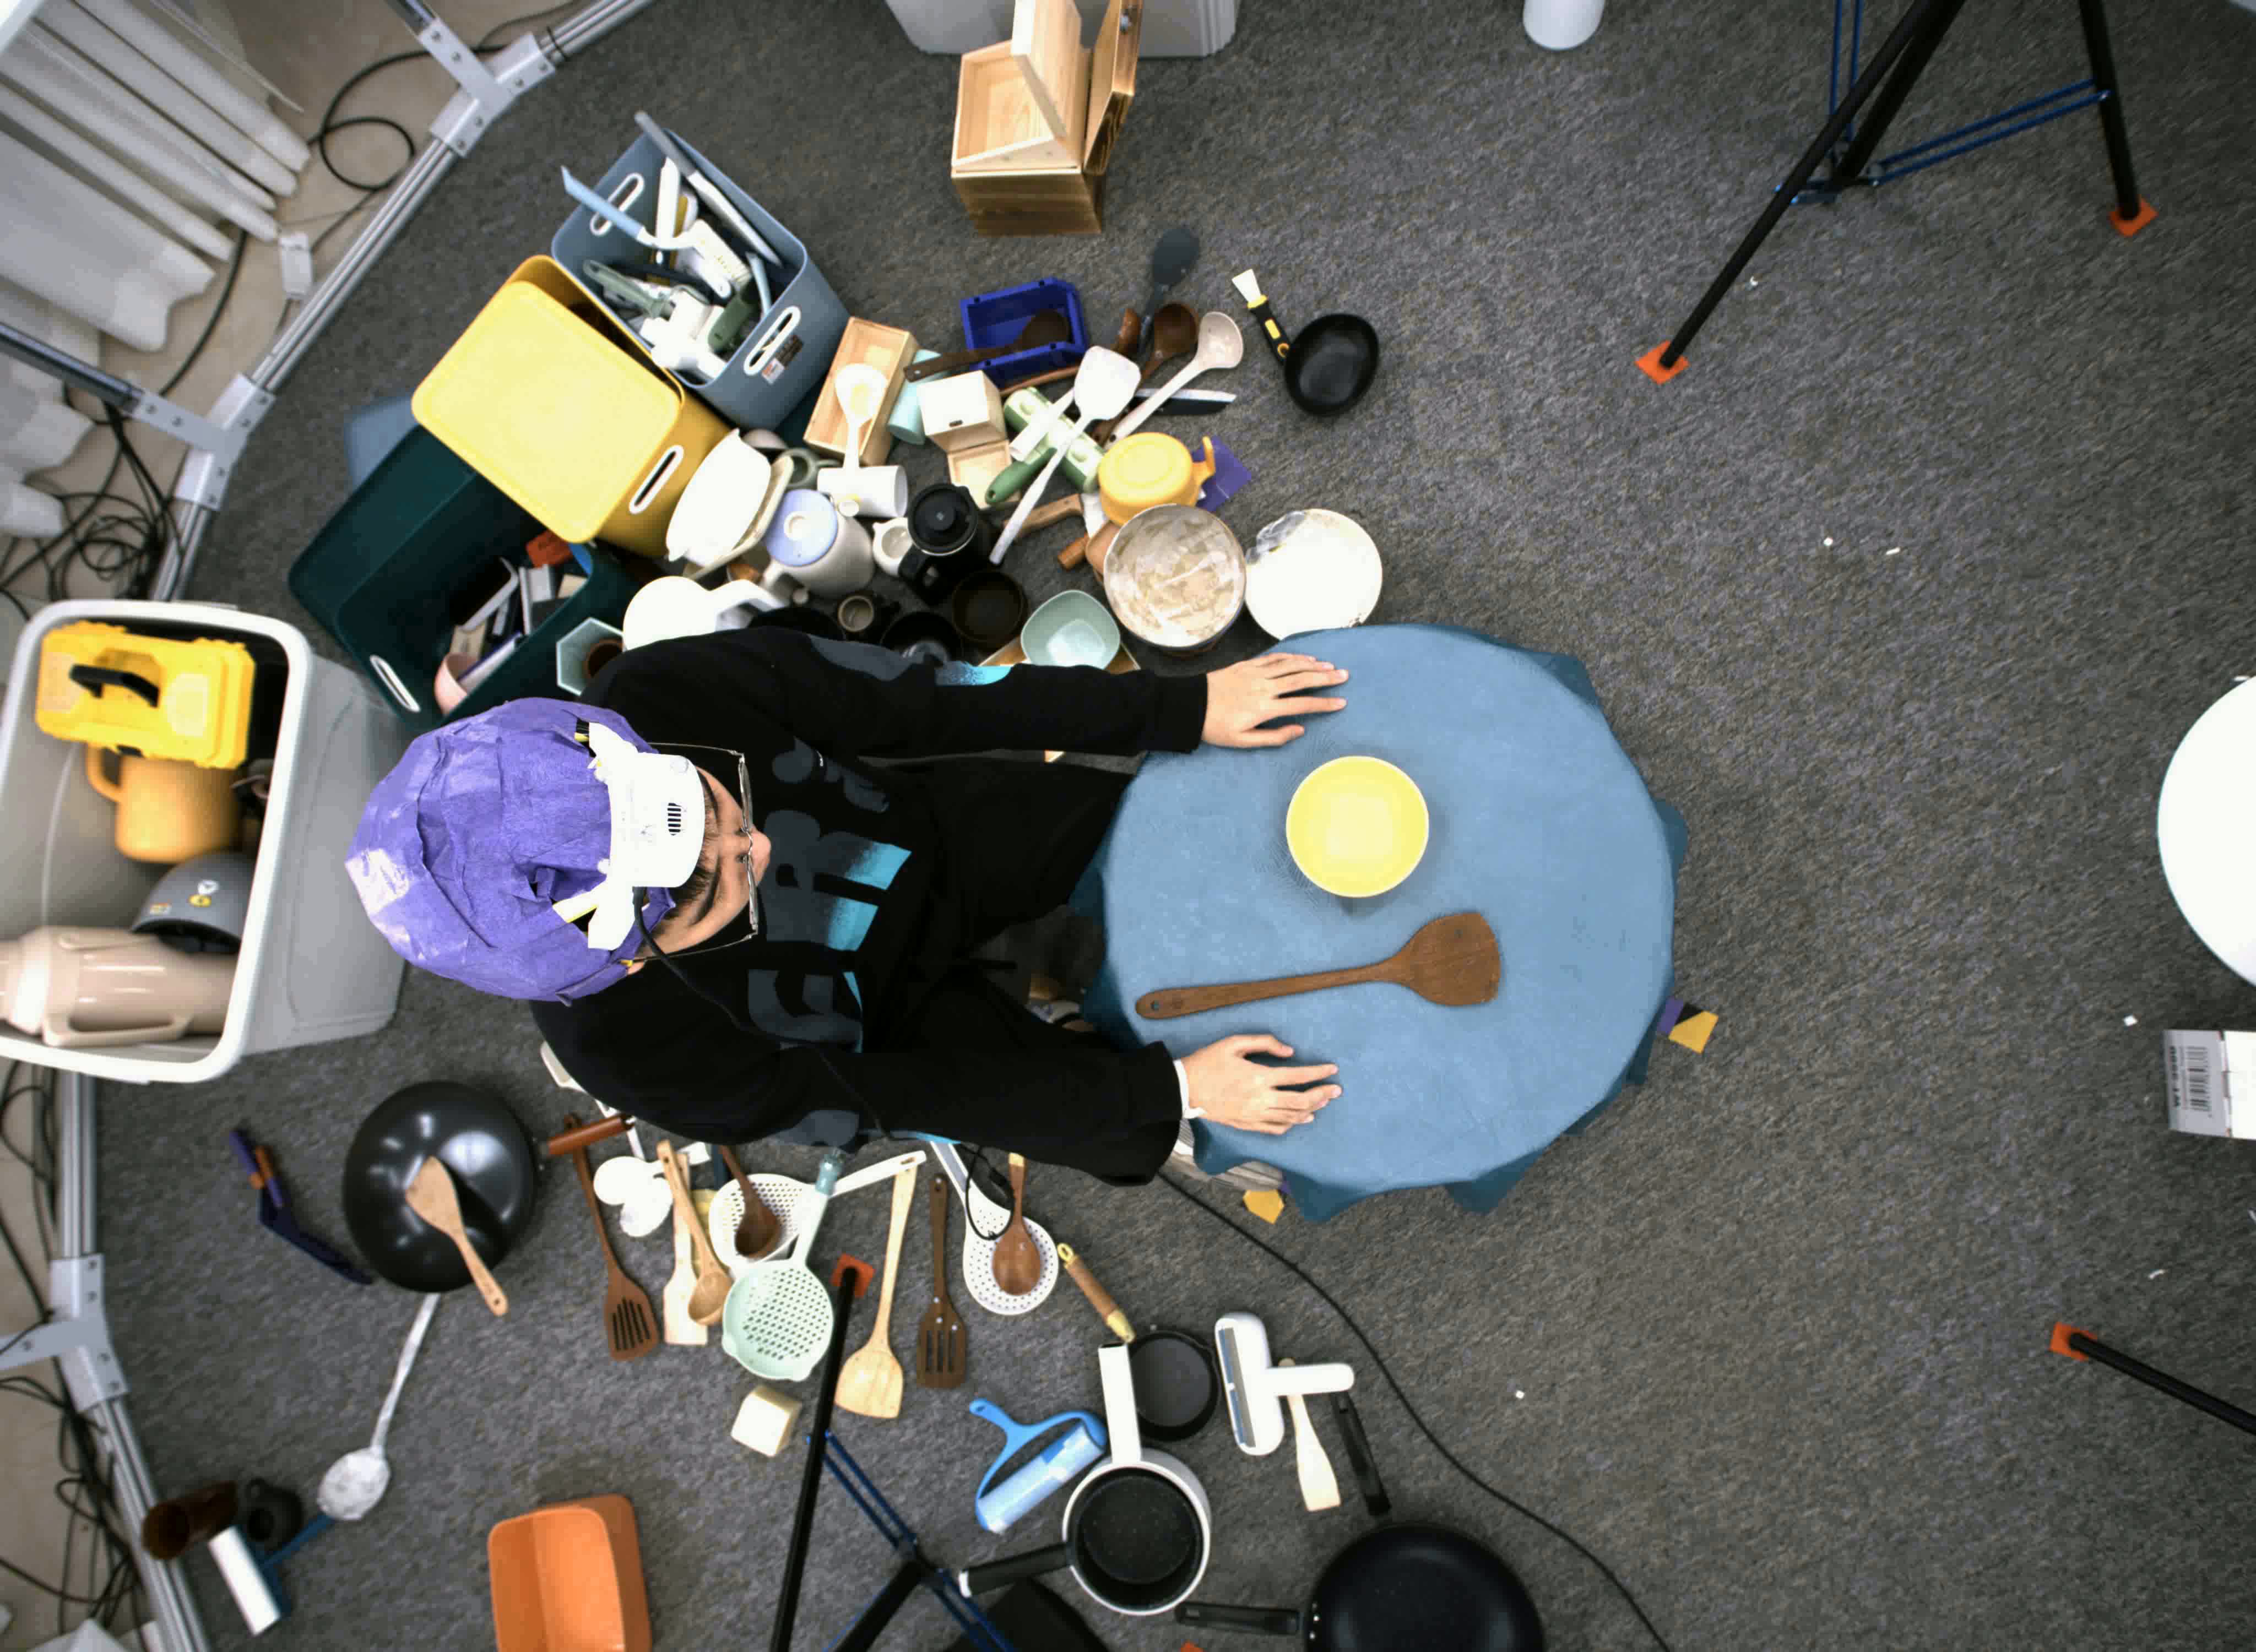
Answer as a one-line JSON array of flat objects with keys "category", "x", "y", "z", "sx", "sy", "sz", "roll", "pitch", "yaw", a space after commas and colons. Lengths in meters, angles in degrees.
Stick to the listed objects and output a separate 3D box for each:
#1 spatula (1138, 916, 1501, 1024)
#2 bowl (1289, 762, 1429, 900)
[{"category": "spatula", "x": 0.198, "y": 0.167, "z": 1.464, "sx": 0.388, "sy": 0.016, "sz": 0.095, "roll": -10, "pitch": 84, "yaw": 10}, {"category": "bowl", "x": 0.243, "y": 0.008, "z": 1.446, "sx": 0.146, "sy": 0.060, "sz": 0.144, "roll": -2, "pitch": 83, "yaw": 11}]
